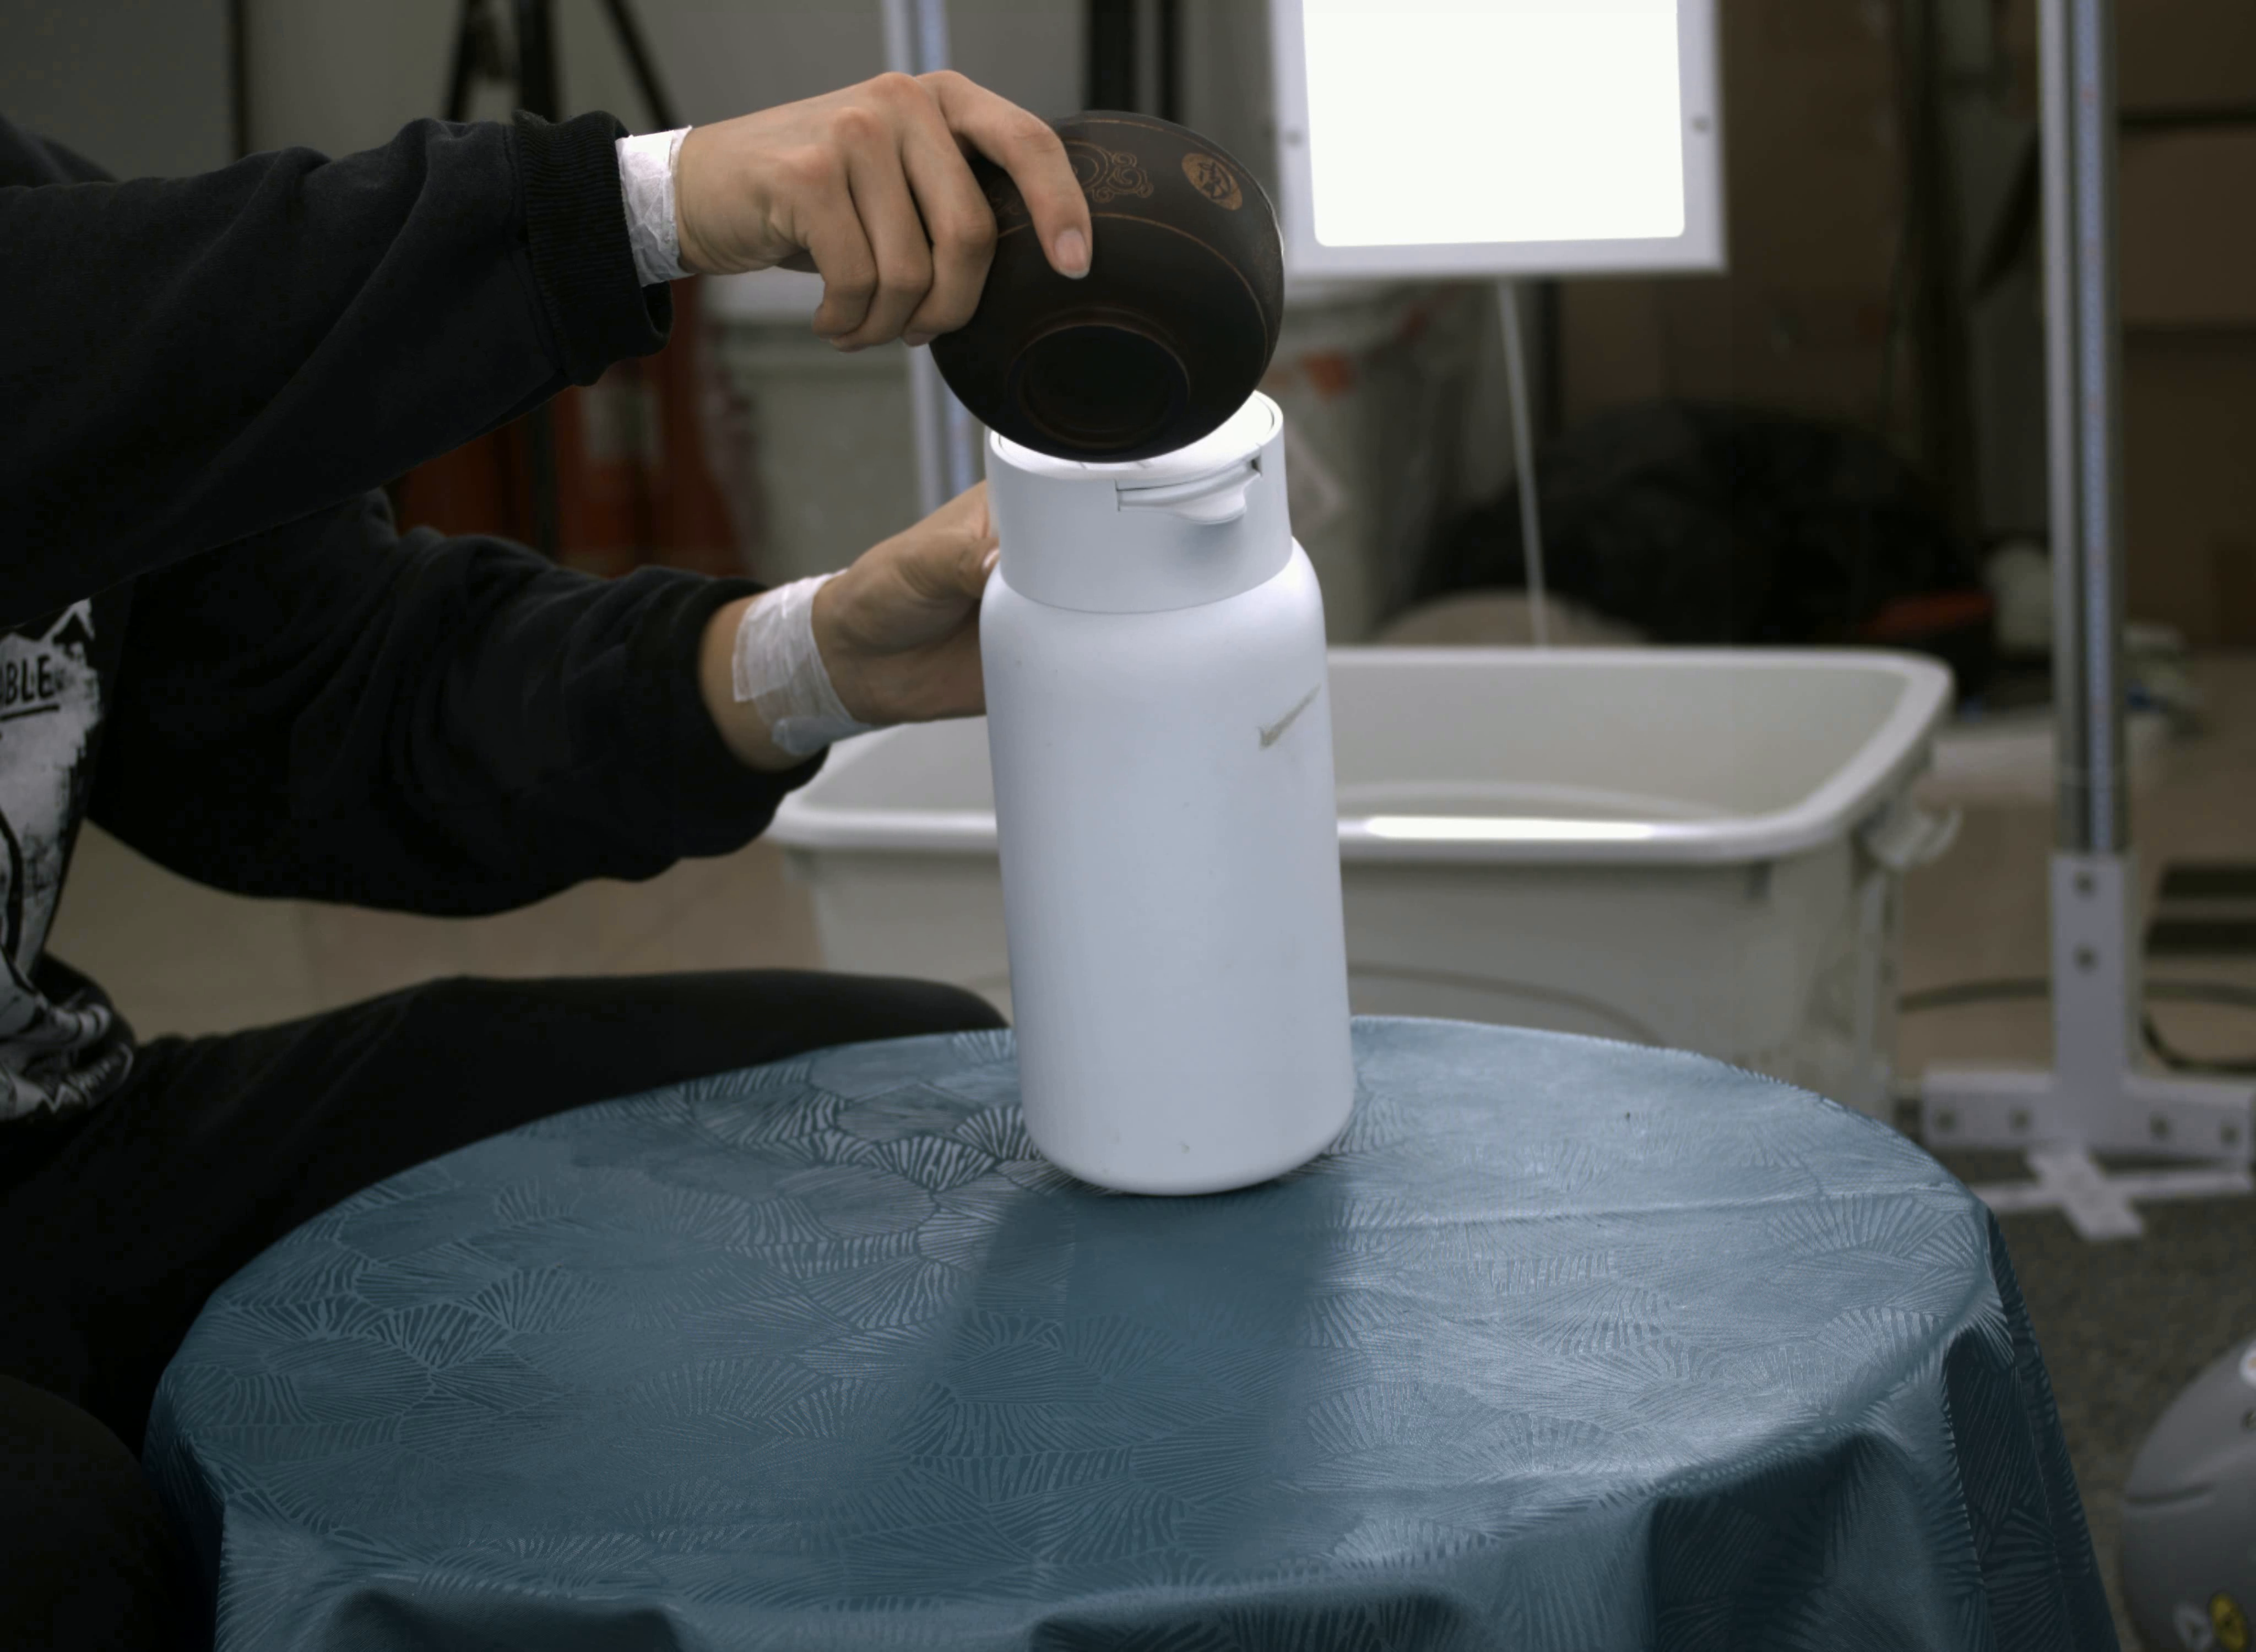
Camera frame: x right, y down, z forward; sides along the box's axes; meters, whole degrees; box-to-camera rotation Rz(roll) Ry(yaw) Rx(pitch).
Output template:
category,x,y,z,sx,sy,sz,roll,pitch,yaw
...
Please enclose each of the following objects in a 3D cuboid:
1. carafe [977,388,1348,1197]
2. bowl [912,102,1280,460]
category,x,y,z,sx,sy,sz,roll,pitch,yaw
carafe,0.002,-0.020,1.894,0.121,0.270,0.175,-17,28,-21
bowl,-0.010,-0.162,1.733,0.118,0.118,0.069,-3,48,5
